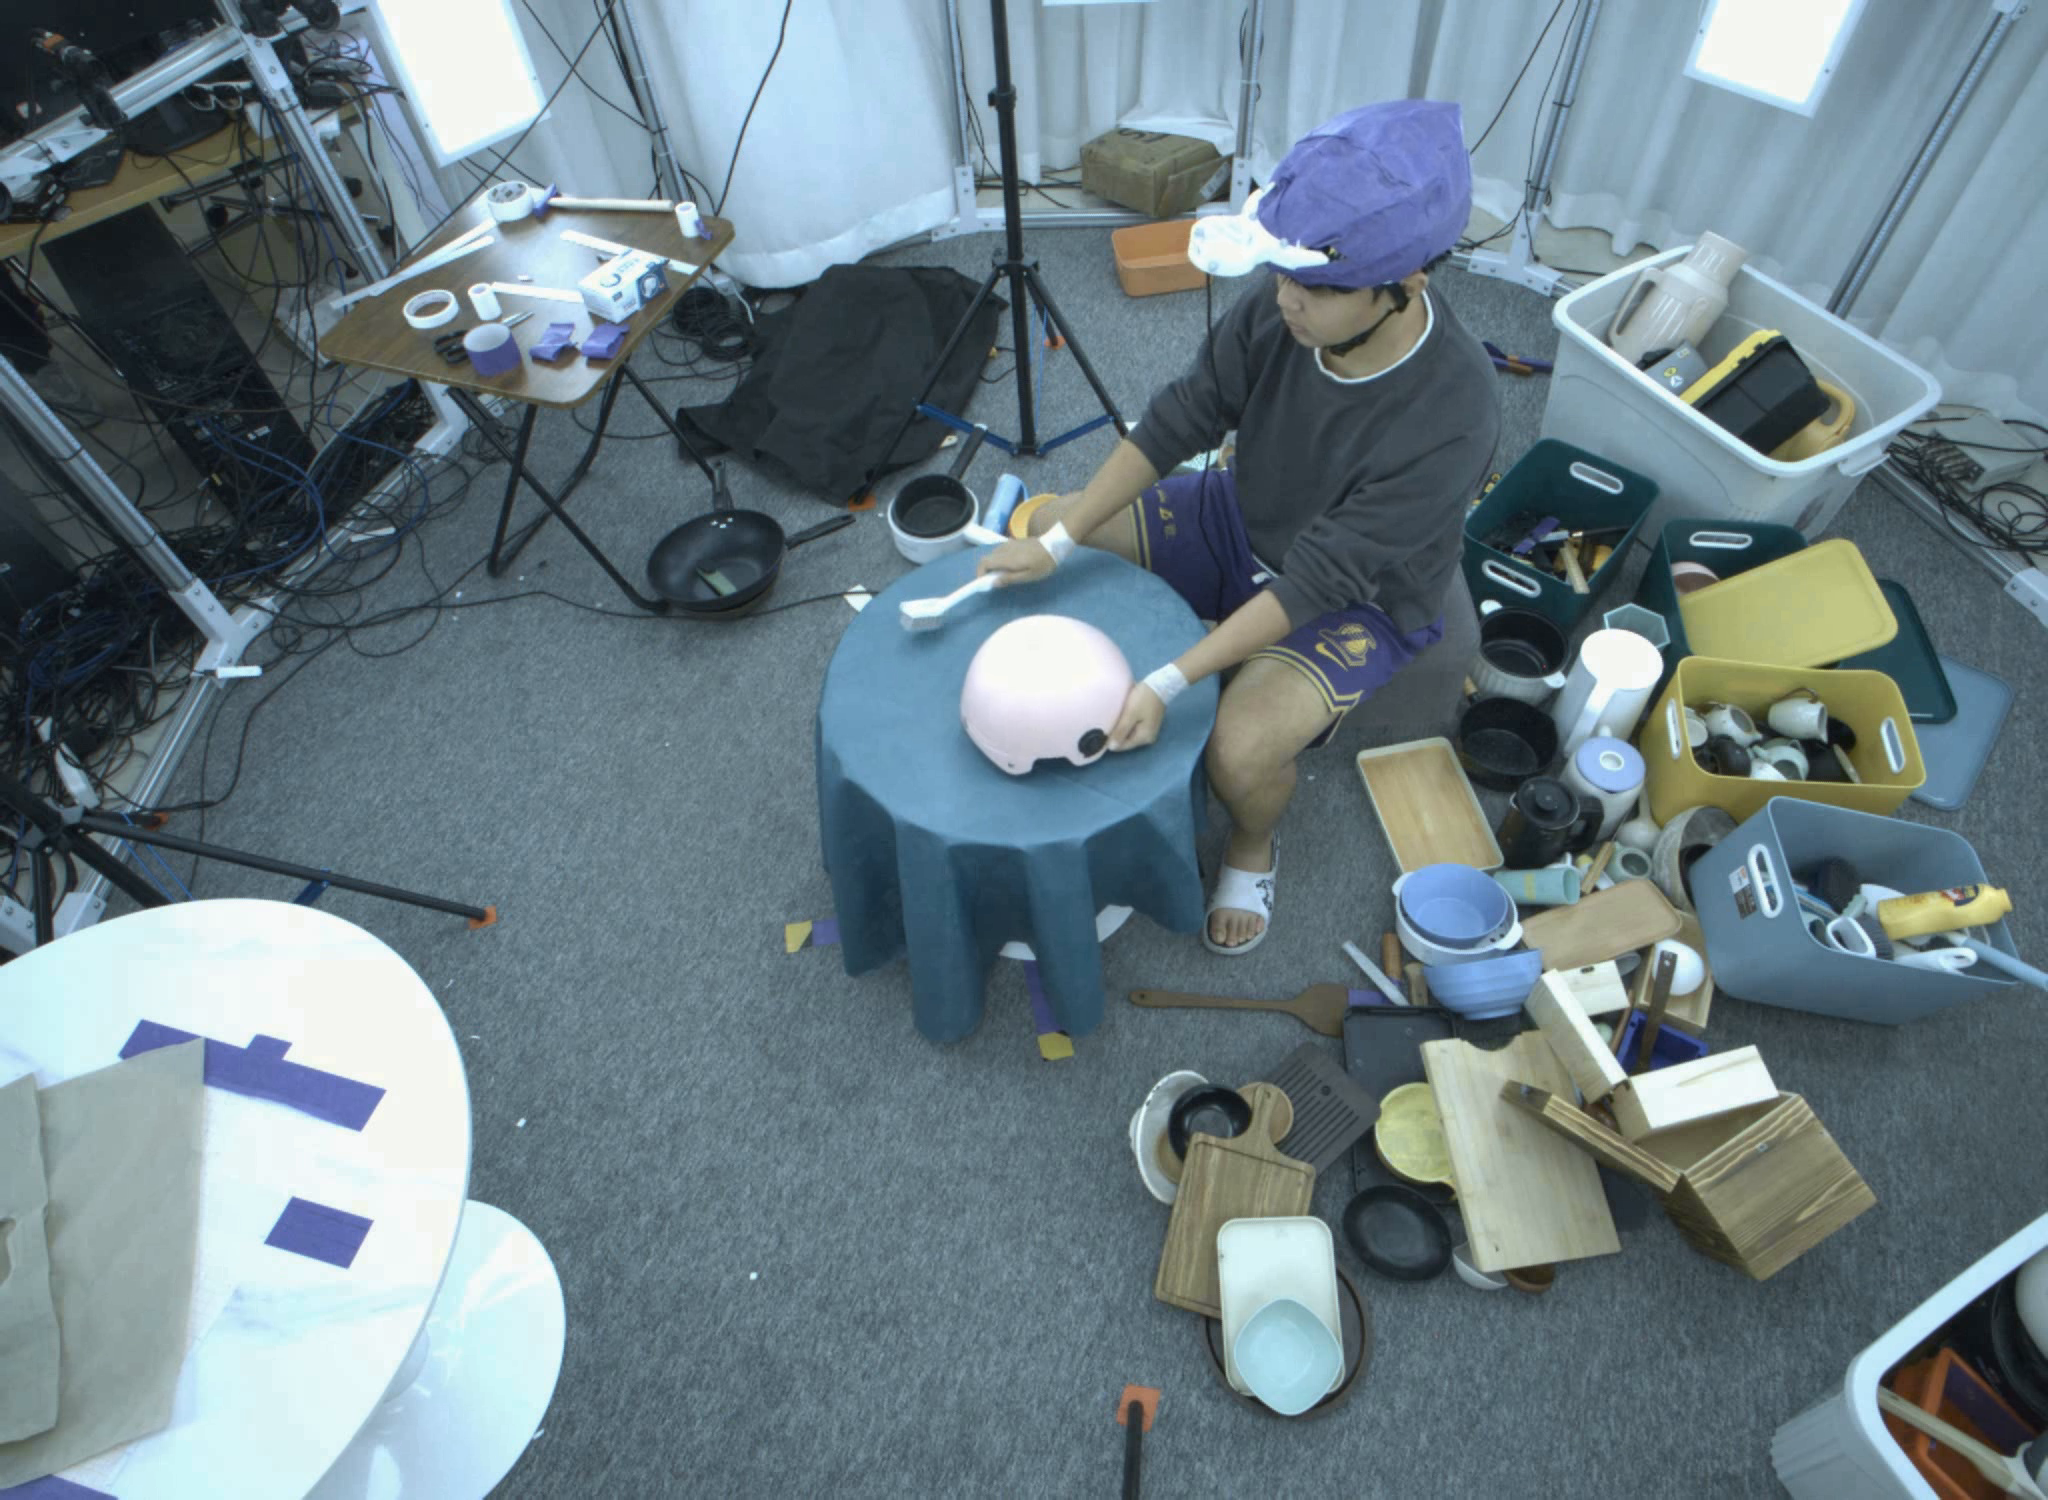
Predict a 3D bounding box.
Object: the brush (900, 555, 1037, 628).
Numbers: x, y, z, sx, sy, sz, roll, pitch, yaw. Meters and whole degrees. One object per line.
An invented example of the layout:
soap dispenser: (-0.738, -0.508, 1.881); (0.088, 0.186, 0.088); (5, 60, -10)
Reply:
brush: (-0.085, -0.247, 1.930); (0.246, 0.051, 0.033); (-25, 47, -24)

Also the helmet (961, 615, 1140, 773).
helmet: (0.039, -0.103, 1.761); (0.268, 0.160, 0.229); (-15, 50, -13)
